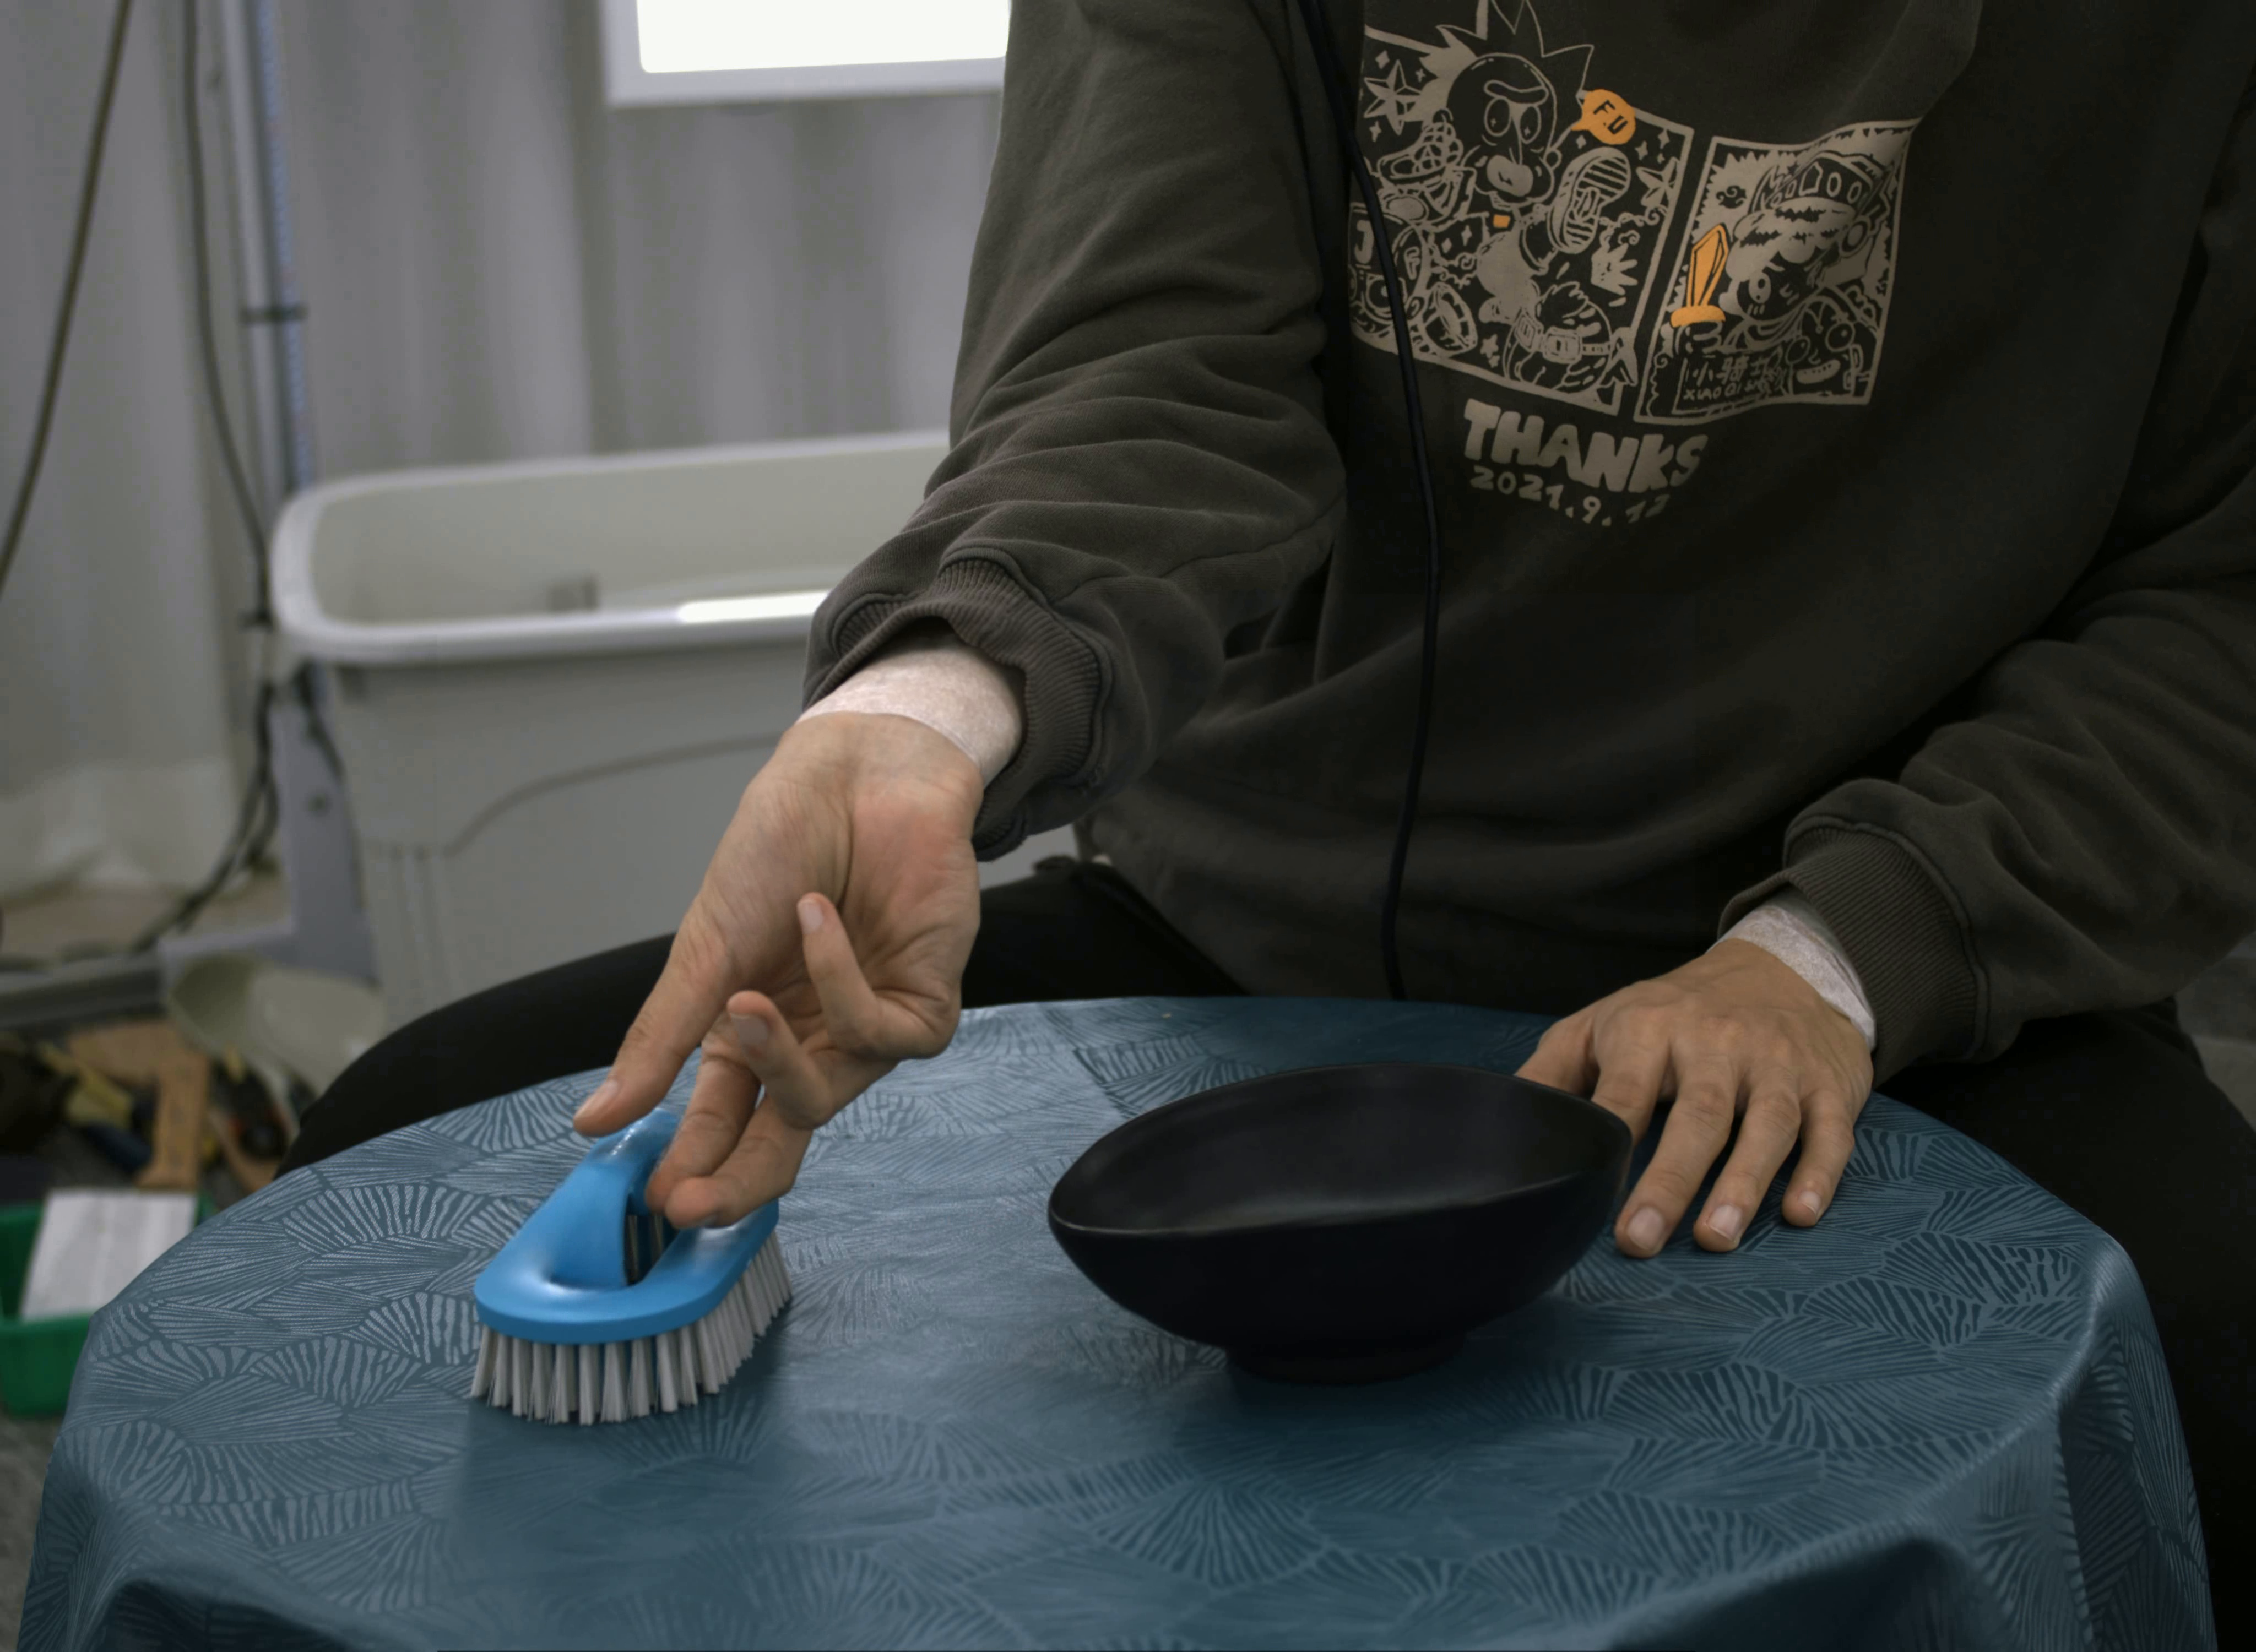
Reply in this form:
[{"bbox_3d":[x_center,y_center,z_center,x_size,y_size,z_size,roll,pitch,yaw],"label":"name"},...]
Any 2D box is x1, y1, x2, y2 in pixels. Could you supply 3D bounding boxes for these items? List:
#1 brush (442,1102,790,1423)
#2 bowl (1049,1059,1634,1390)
[{"bbox_3d":[-0.149,0.121,1.603,0.084,0.063,0.142,5,17,12],"label":"brush"},{"bbox_3d":[0.063,0.120,1.569,0.169,0.066,0.138,-7,15,-10],"label":"bowl"}]
